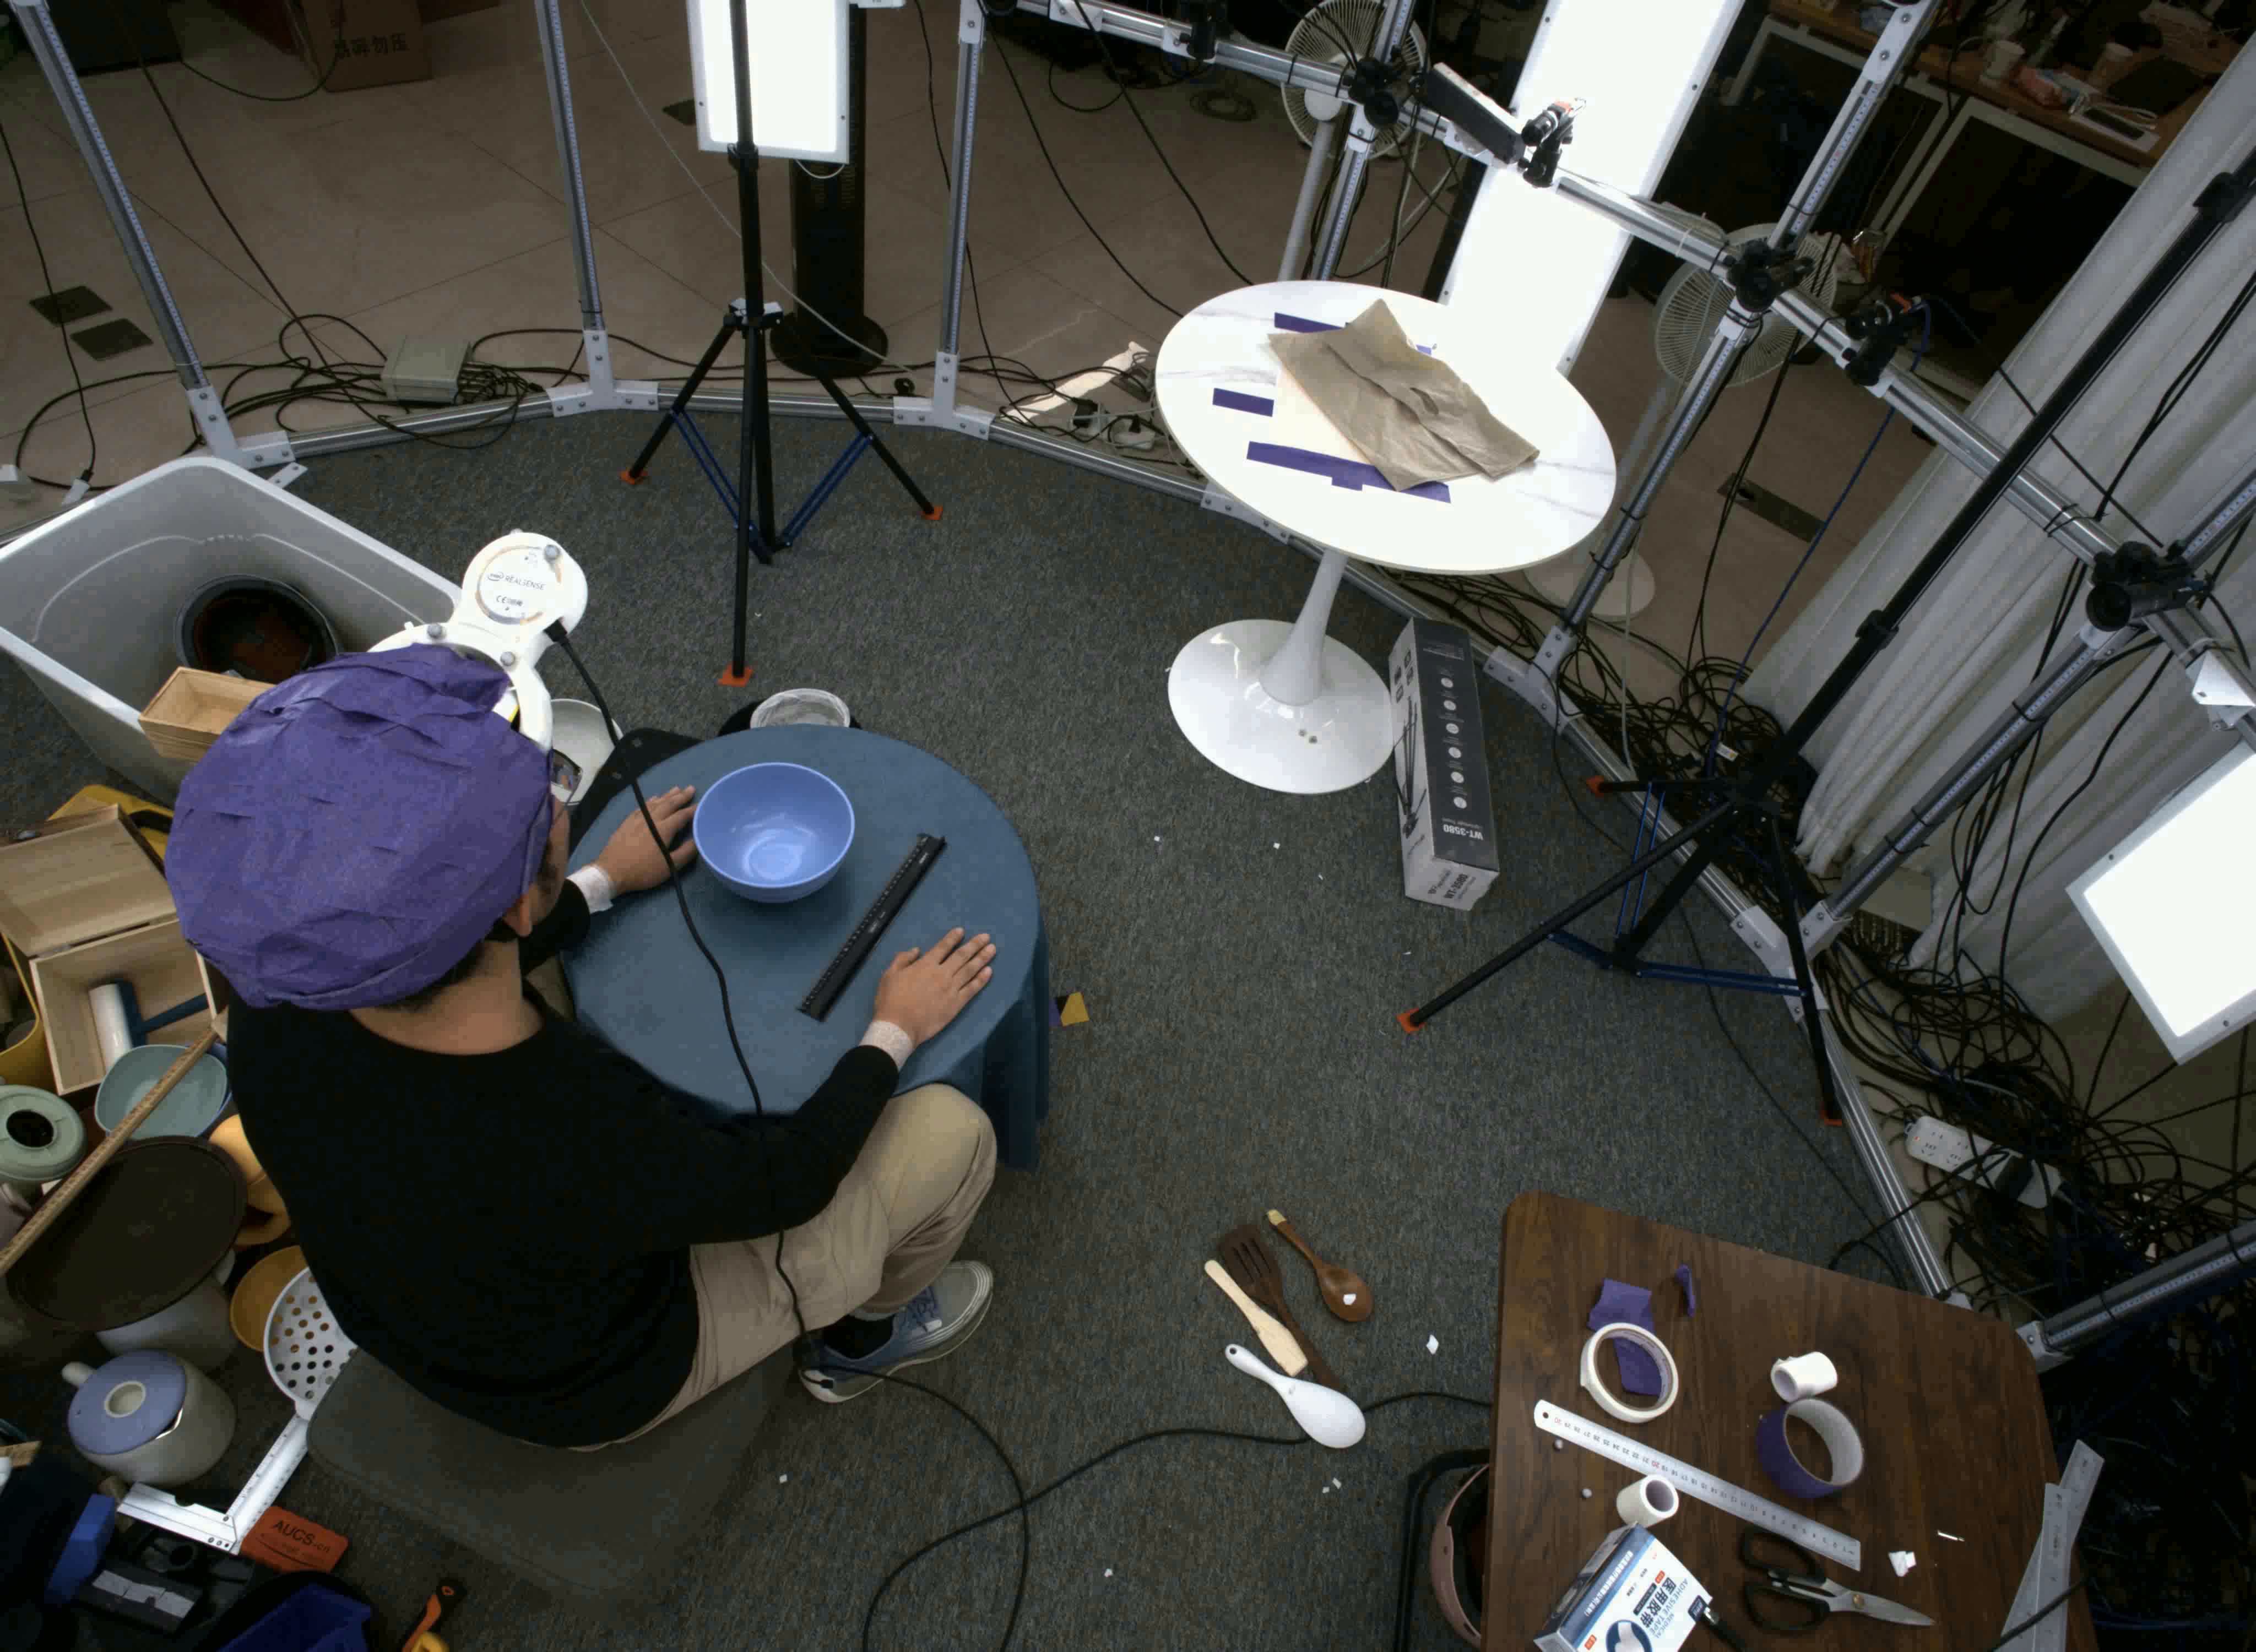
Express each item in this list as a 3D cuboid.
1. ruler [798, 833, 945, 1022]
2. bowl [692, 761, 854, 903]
[{"bbox_3d":[-0.321,0.116,1.649,0.038,0.017,0.310,23,52,9],"label":"ruler"},{"bbox_3d":[-0.445,0.022,1.635,0.196,0.097,0.193,8,51,-8],"label":"bowl"}]
